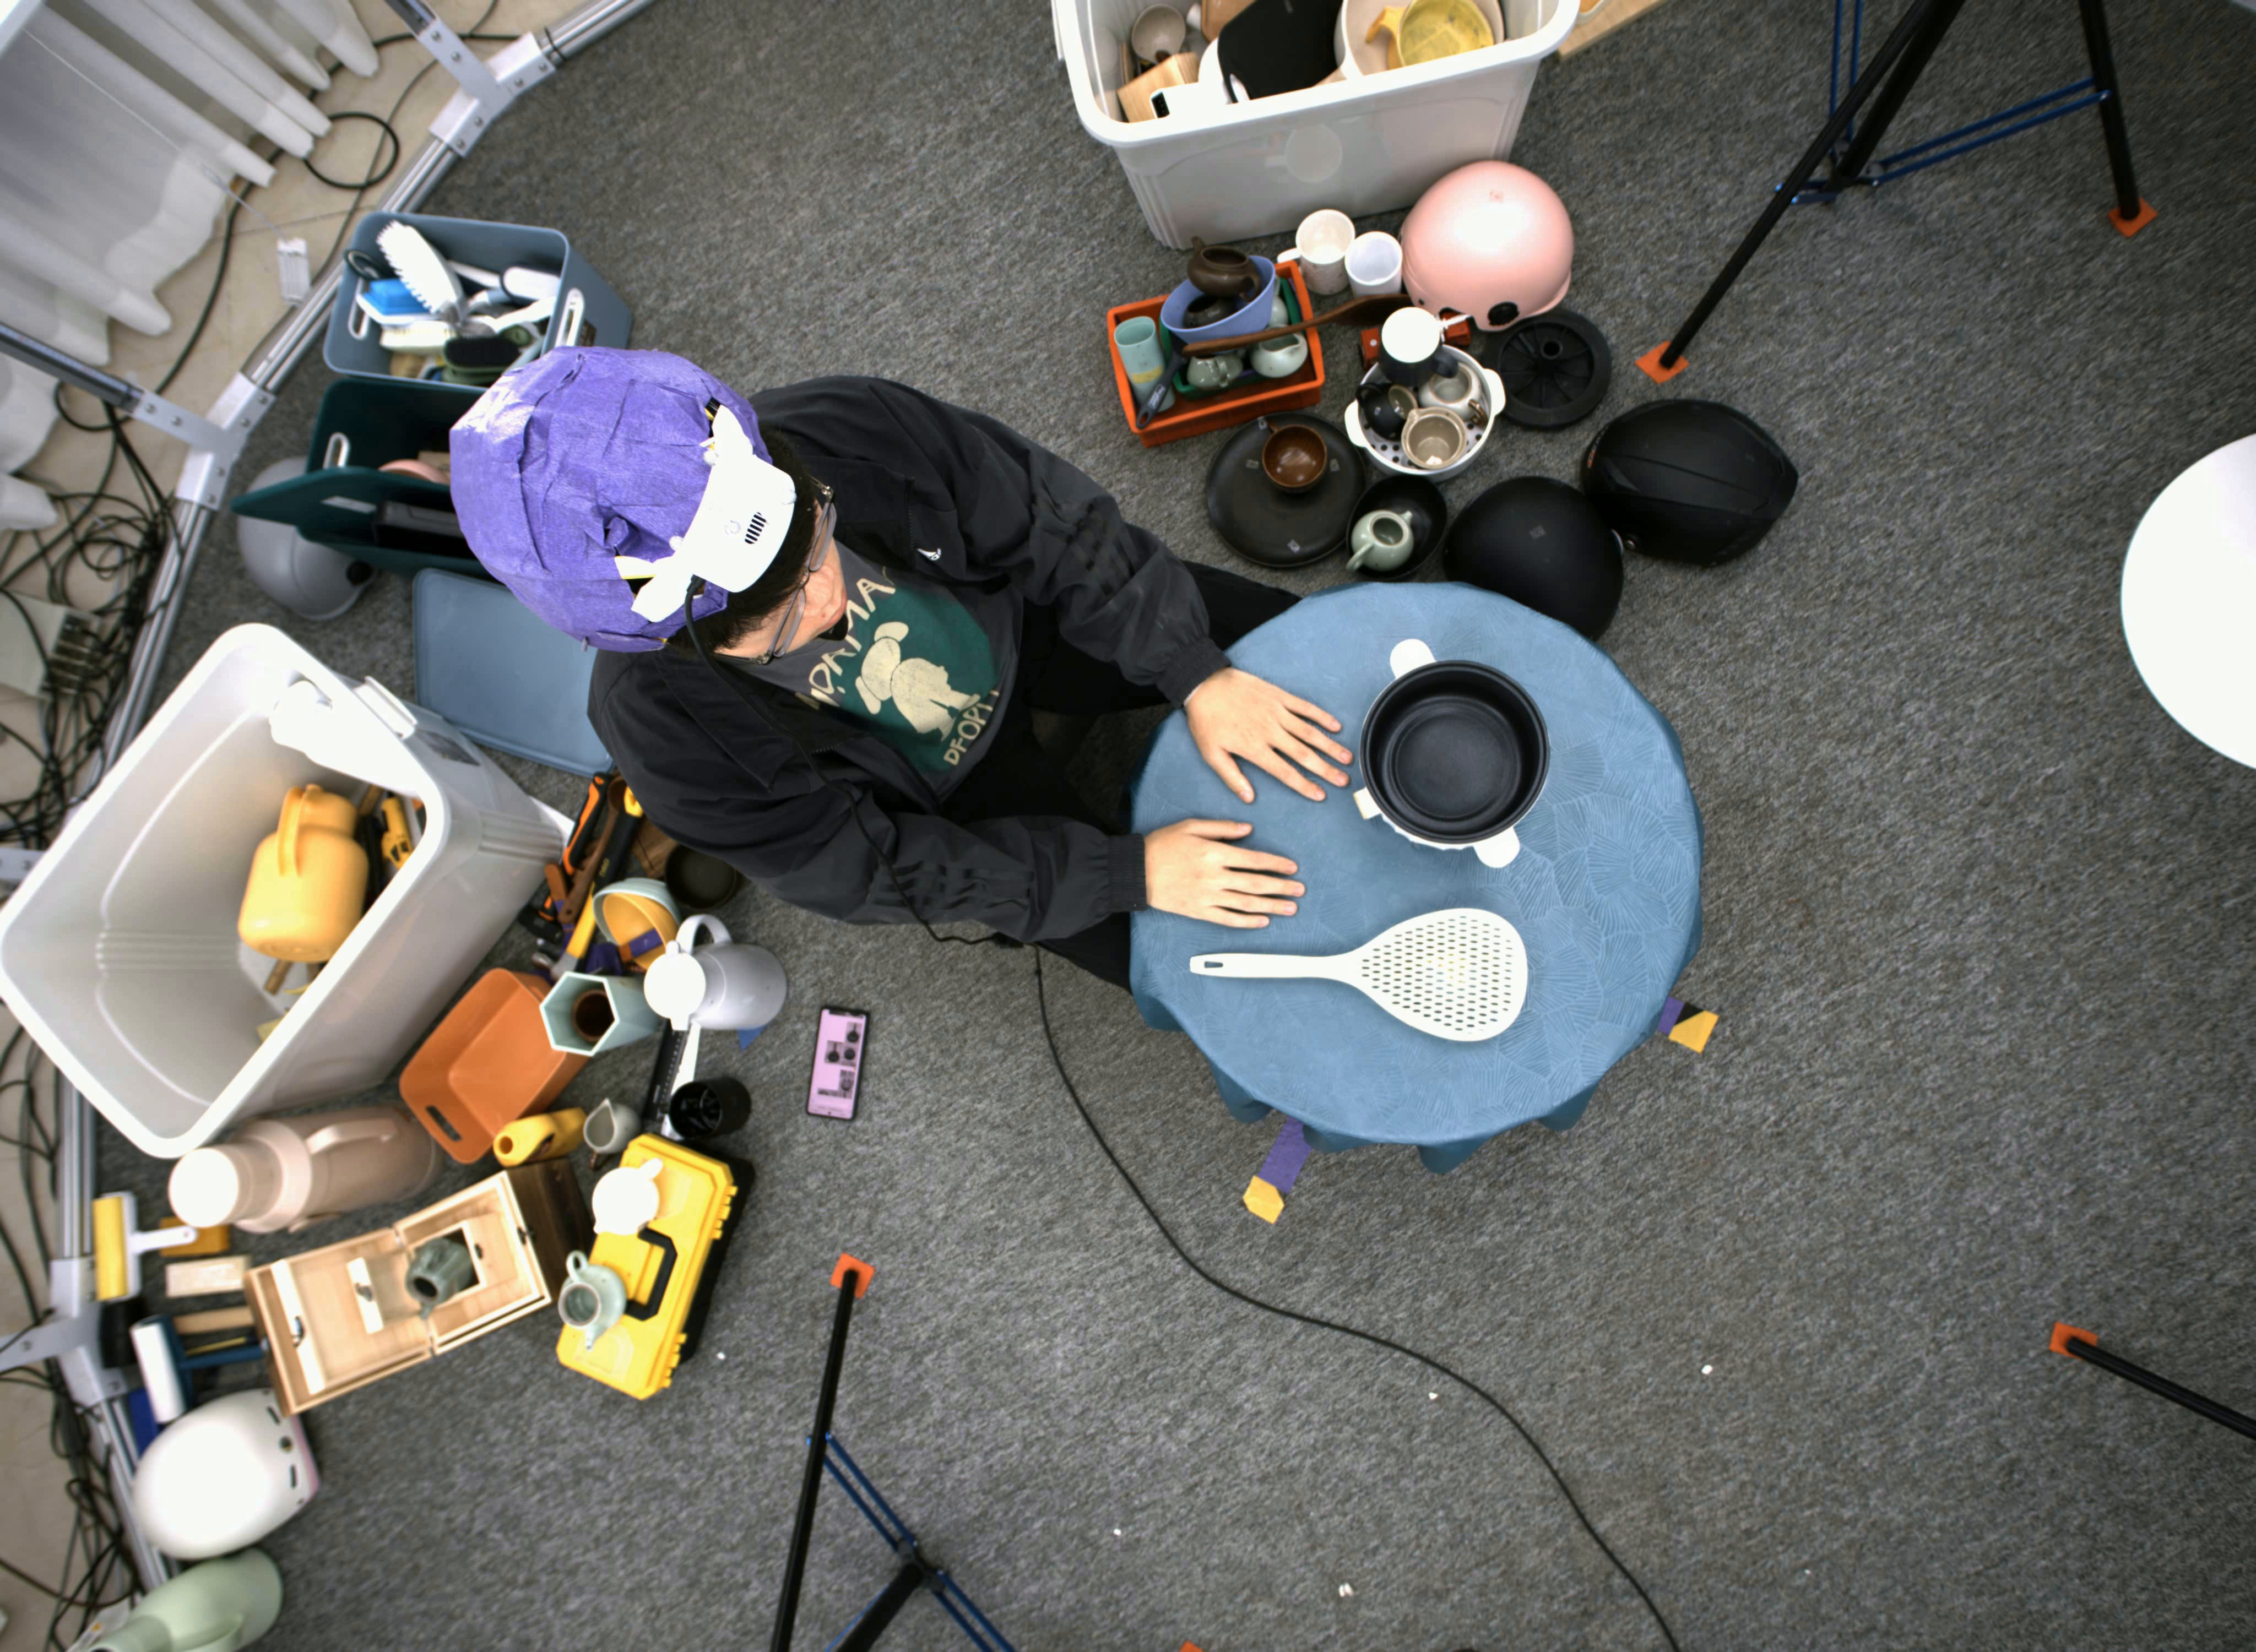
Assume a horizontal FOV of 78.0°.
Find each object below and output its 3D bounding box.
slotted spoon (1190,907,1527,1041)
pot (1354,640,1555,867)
[{"bbox_3d":[0.234,0.147,1.439,0.349,0.050,0.137,0,95,10],"label":"slotted spoon"},{"bbox_3d":[0.322,-0.063,1.385,0.191,0.143,0.238,-24,81,5],"label":"pot"}]
